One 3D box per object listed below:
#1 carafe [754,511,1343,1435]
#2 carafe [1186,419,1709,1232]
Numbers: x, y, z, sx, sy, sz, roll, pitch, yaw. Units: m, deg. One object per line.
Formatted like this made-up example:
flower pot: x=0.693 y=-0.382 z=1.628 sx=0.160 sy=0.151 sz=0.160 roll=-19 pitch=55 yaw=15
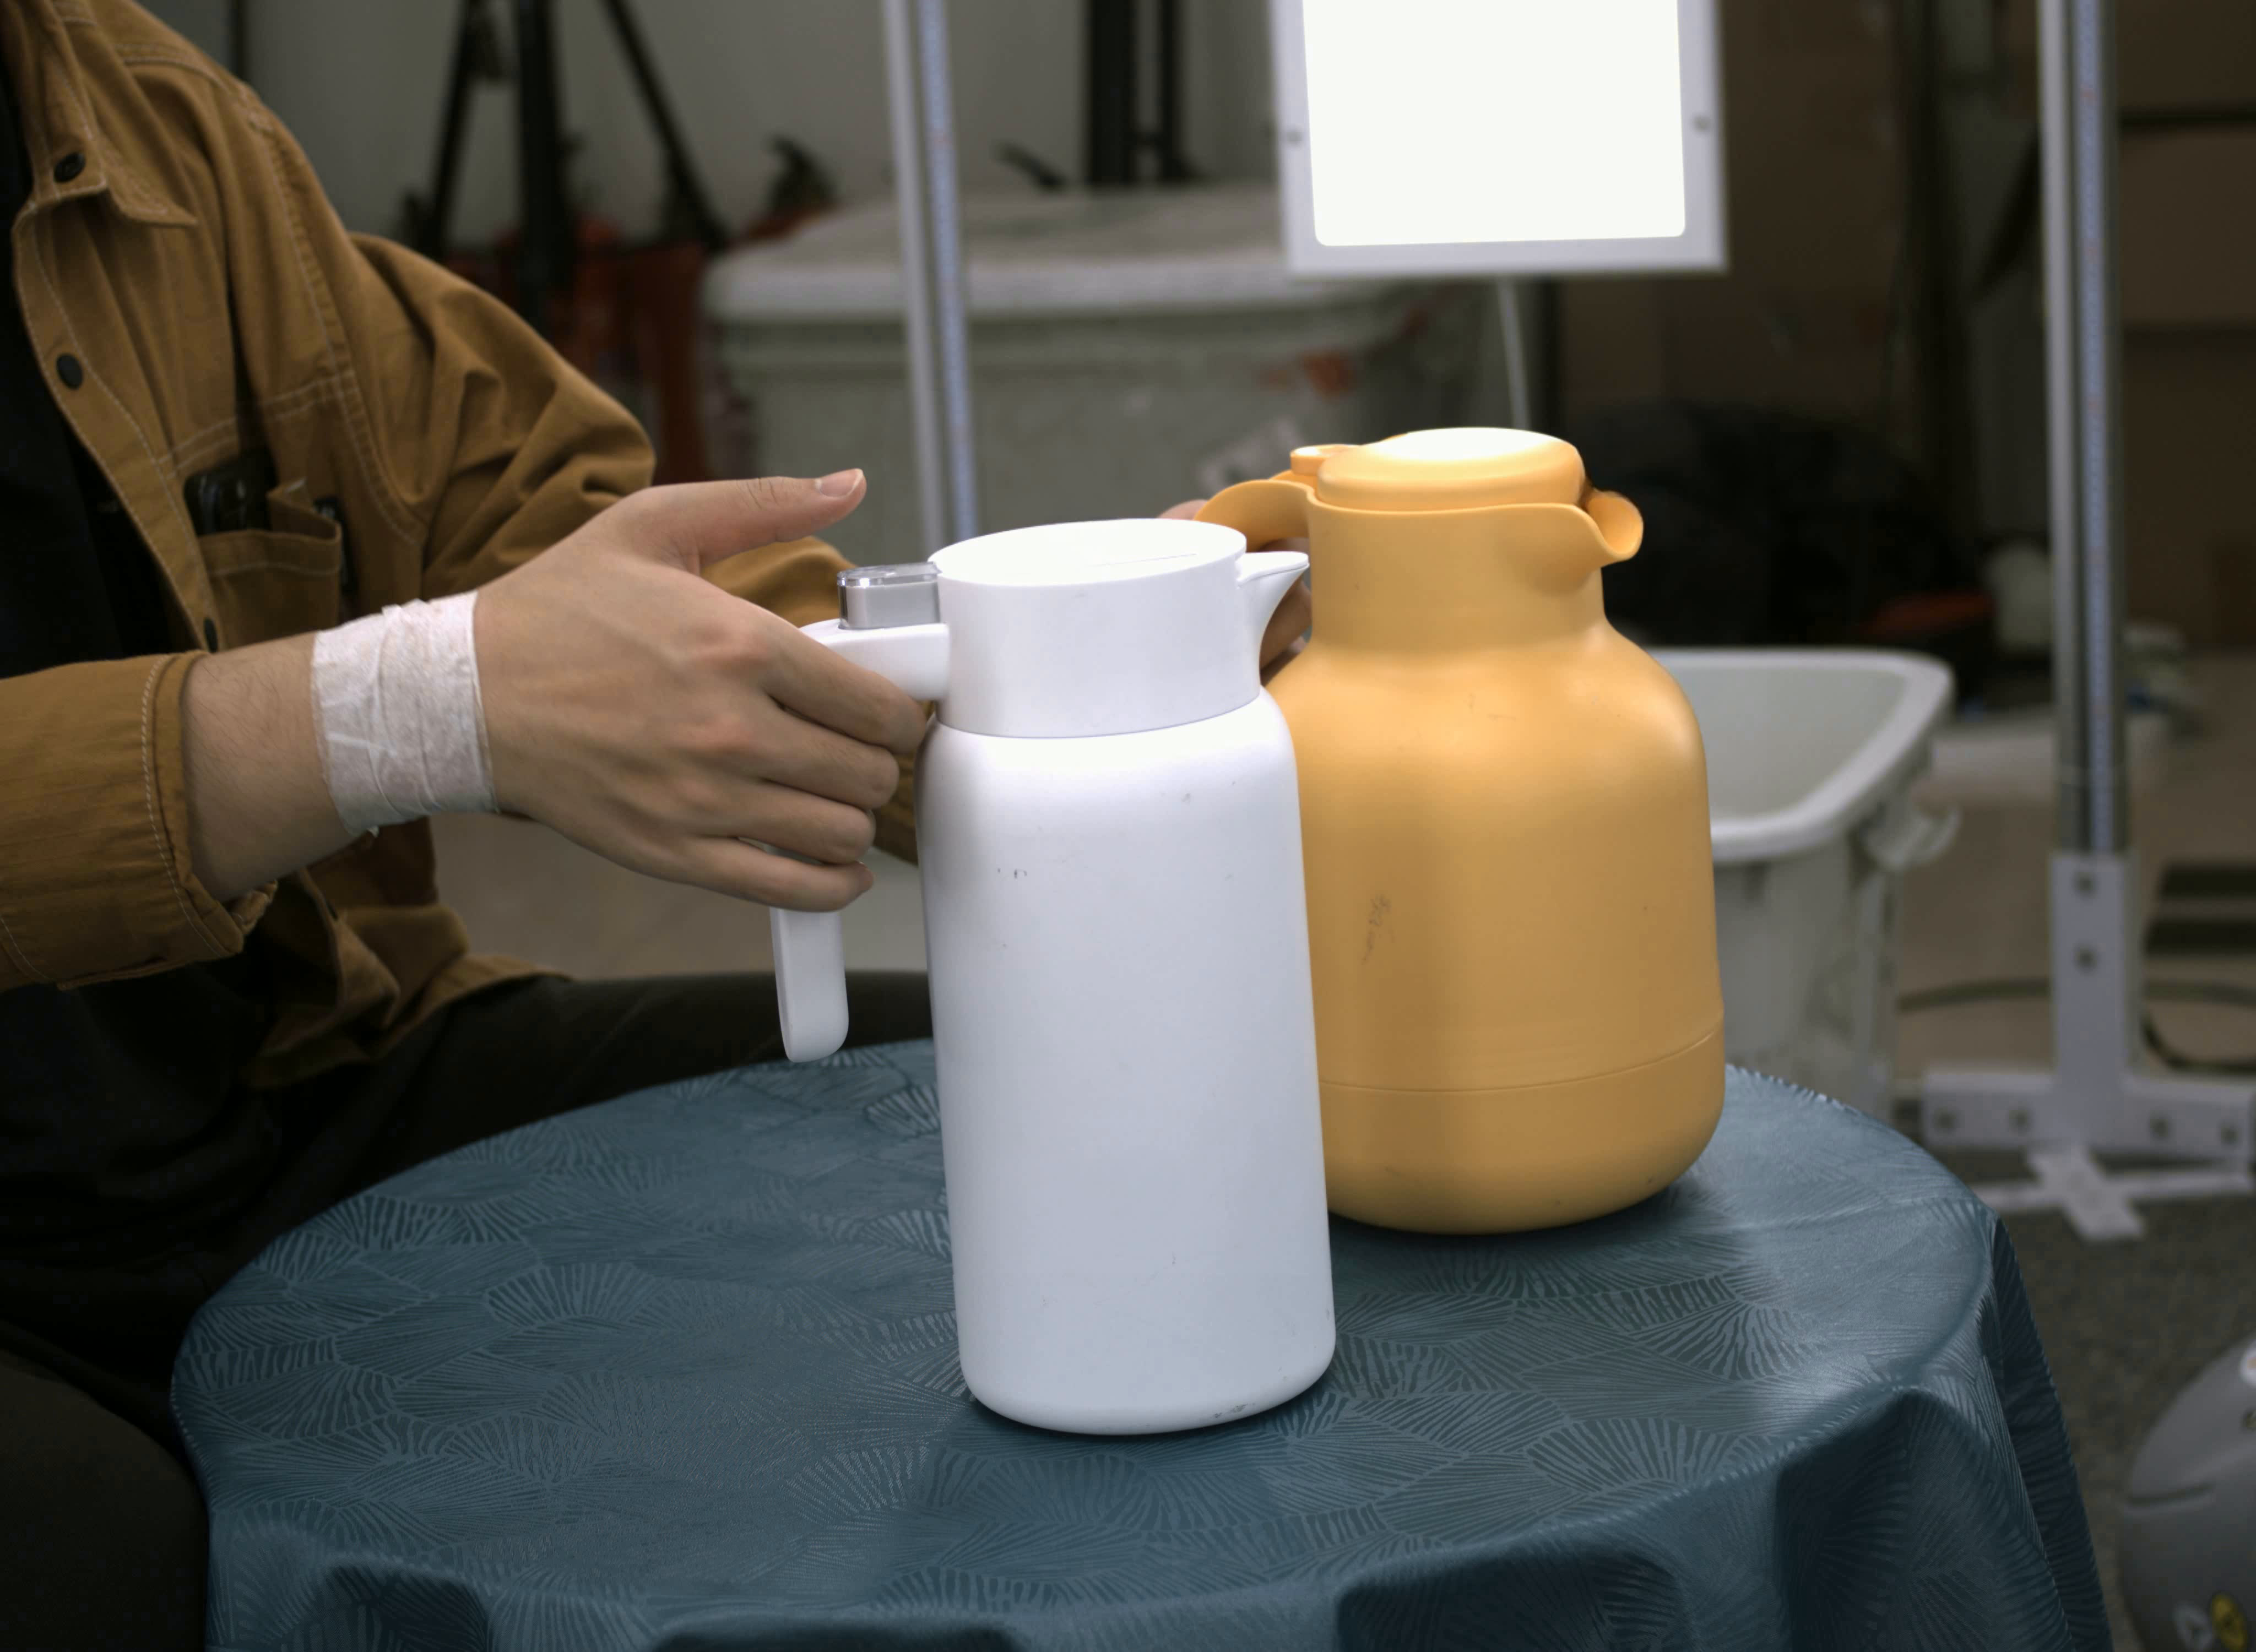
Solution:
carafe: x=-0.018 y=0.046 z=1.673 sx=0.171 sy=0.270 sz=0.124 roll=-8 pitch=16 yaw=-8
carafe: x=0.100 y=-0.007 z=1.852 sx=0.159 sy=0.261 sz=0.207 roll=-13 pitch=18 yaw=-41
